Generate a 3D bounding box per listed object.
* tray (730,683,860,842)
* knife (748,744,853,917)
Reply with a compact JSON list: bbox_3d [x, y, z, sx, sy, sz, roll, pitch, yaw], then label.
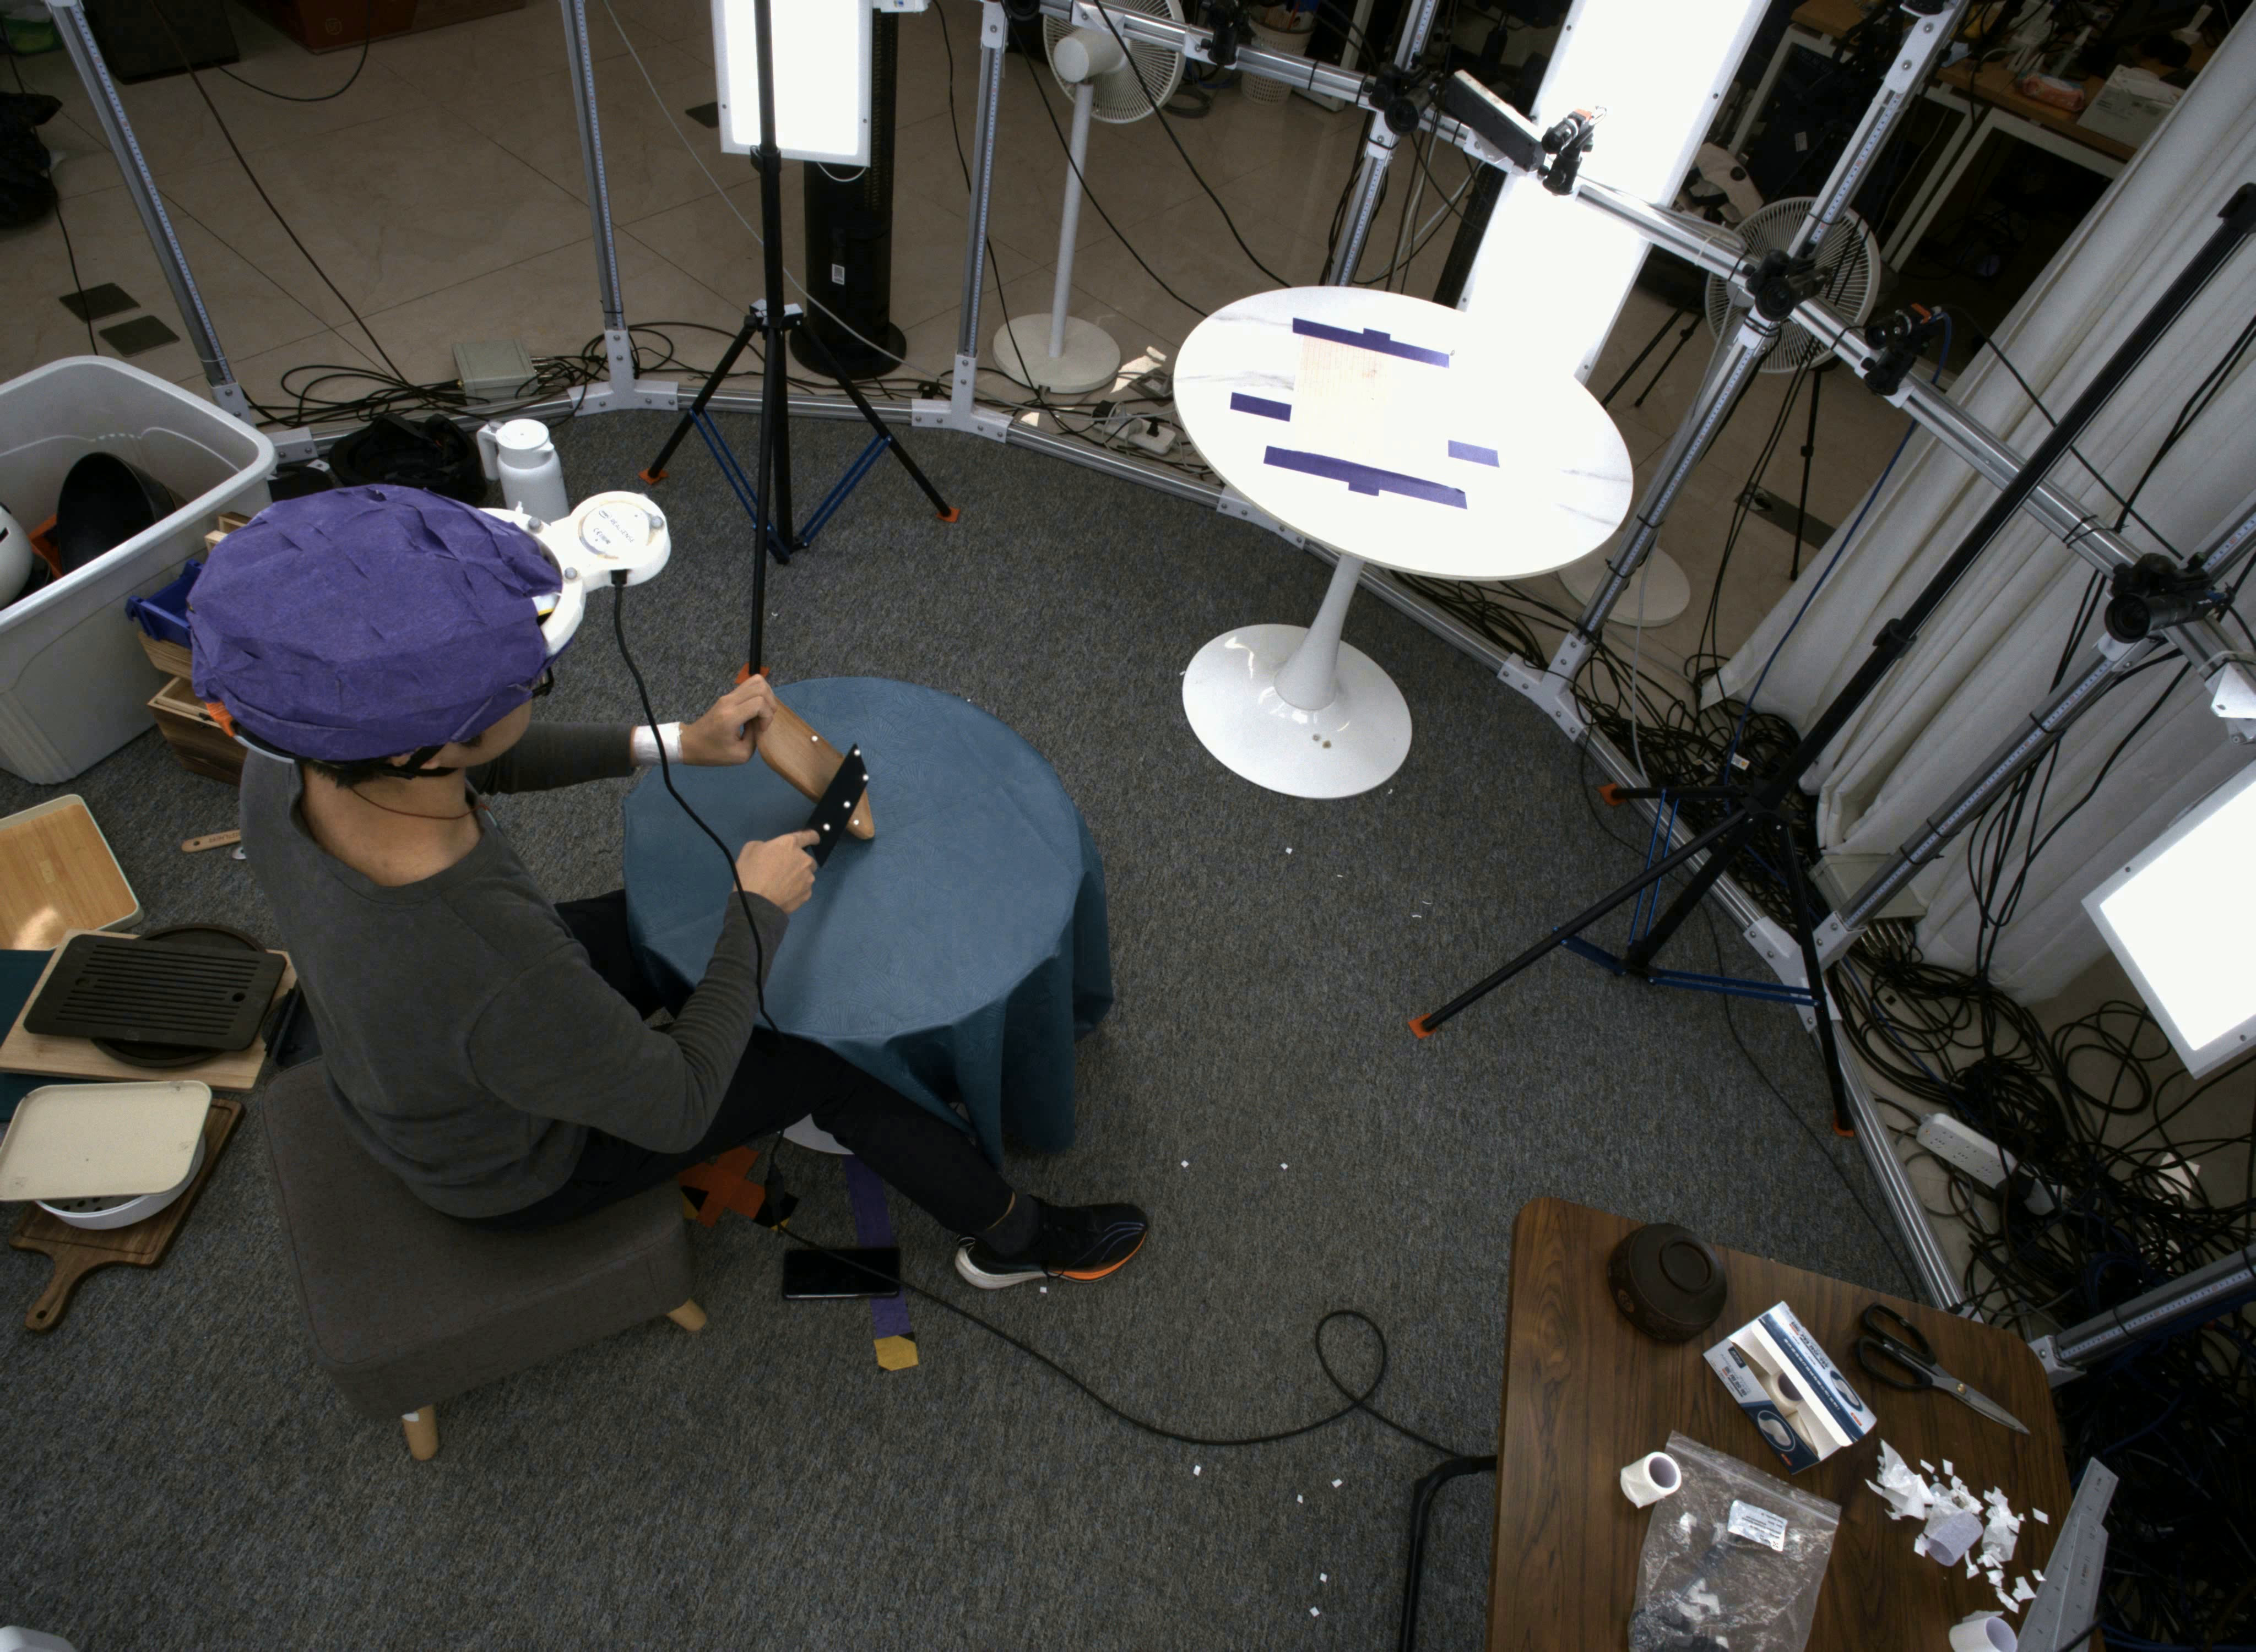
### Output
[{"bbox_3d":[-0.424,-0.077,1.655,0.022,0.259,0.127,-27,57,10],"label":"tray"},{"bbox_3d":[-0.398,0.007,1.597,0.020,0.084,0.298,-4,34,16],"label":"knife"}]
